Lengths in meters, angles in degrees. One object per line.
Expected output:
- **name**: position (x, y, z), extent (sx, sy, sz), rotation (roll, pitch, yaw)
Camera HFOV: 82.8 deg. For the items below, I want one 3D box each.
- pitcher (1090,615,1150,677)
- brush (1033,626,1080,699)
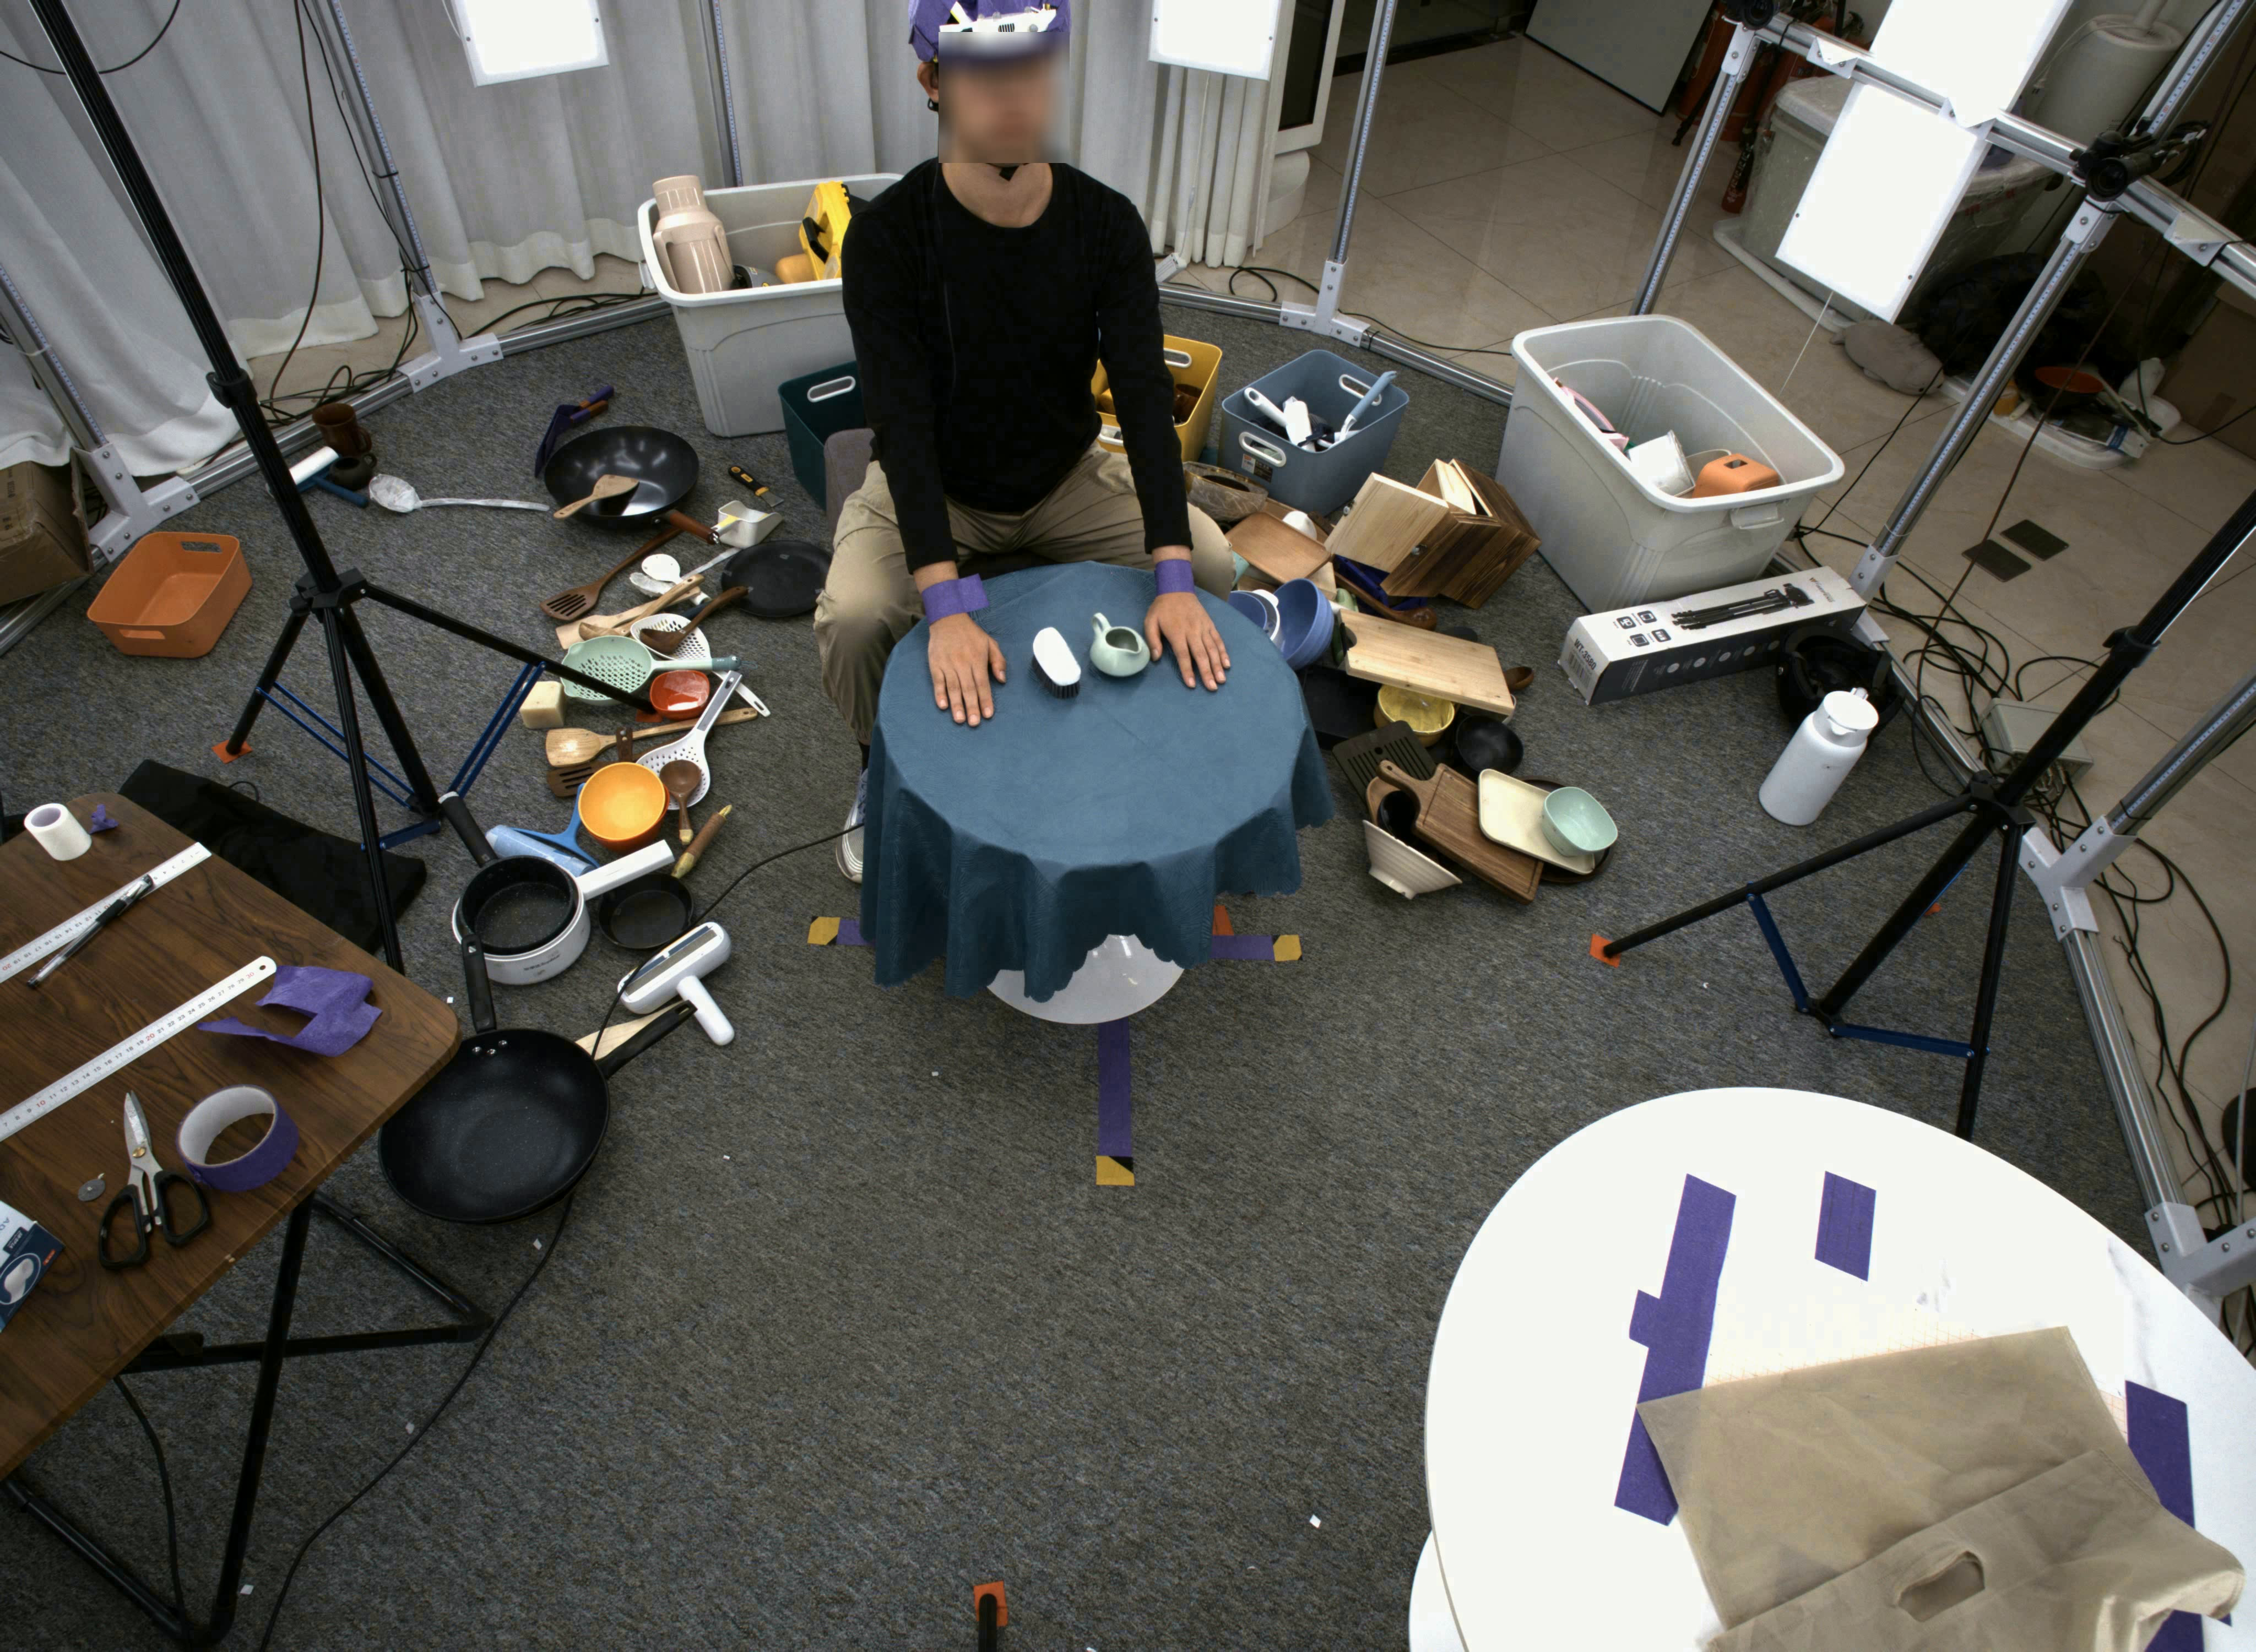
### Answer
- **pitcher**: position (-0.019, -0.260, 1.855), extent (0.086, 0.059, 0.110), rotation (-31, 55, -28)
- **brush**: position (-0.102, -0.239, 1.819), extent (0.050, 0.071, 0.101), rotation (-16, 53, -20)
